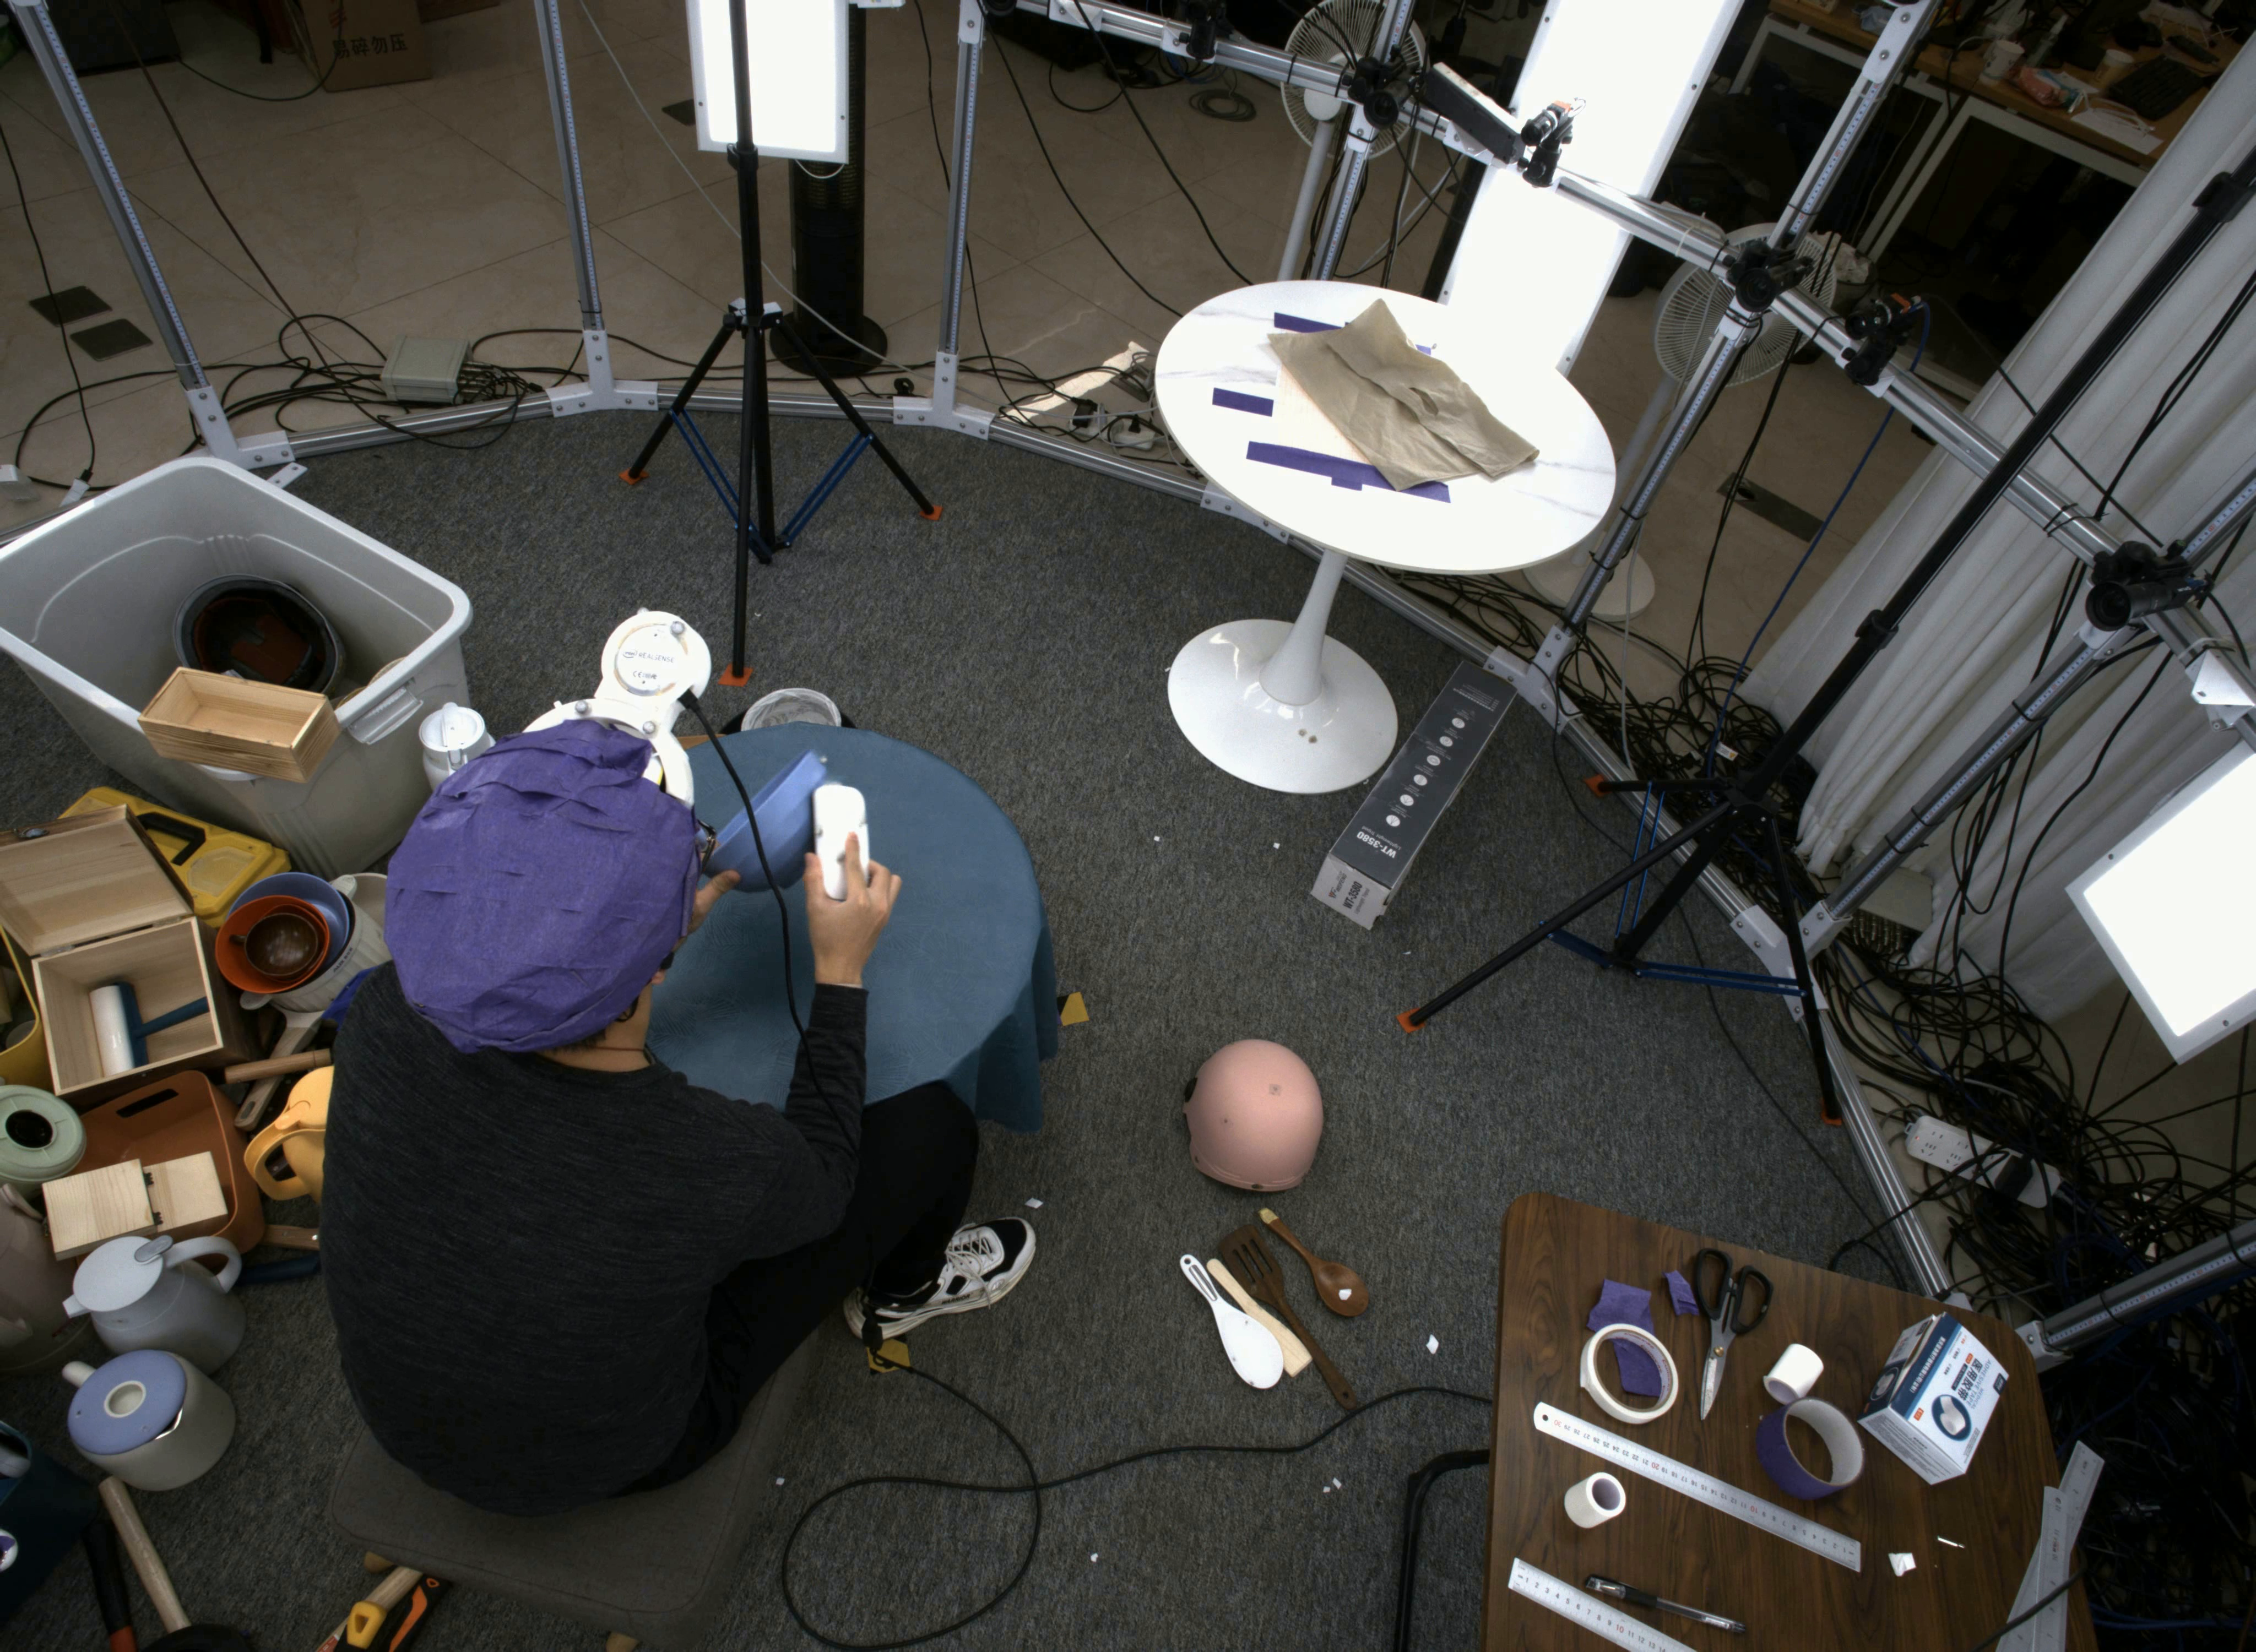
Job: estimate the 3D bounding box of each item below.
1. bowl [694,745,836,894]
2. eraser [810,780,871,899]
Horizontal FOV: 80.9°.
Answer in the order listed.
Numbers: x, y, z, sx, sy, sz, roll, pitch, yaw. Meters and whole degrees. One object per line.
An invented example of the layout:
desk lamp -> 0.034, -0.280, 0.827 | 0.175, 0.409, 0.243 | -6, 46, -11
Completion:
bowl -> -0.402, 0.008, 1.509 | 0.097, 0.193, 0.195 | 45, 50, -15
eraser -> -0.322, 0.015, 1.450 | 0.065, 0.034, 0.131 | 8, 72, -51
